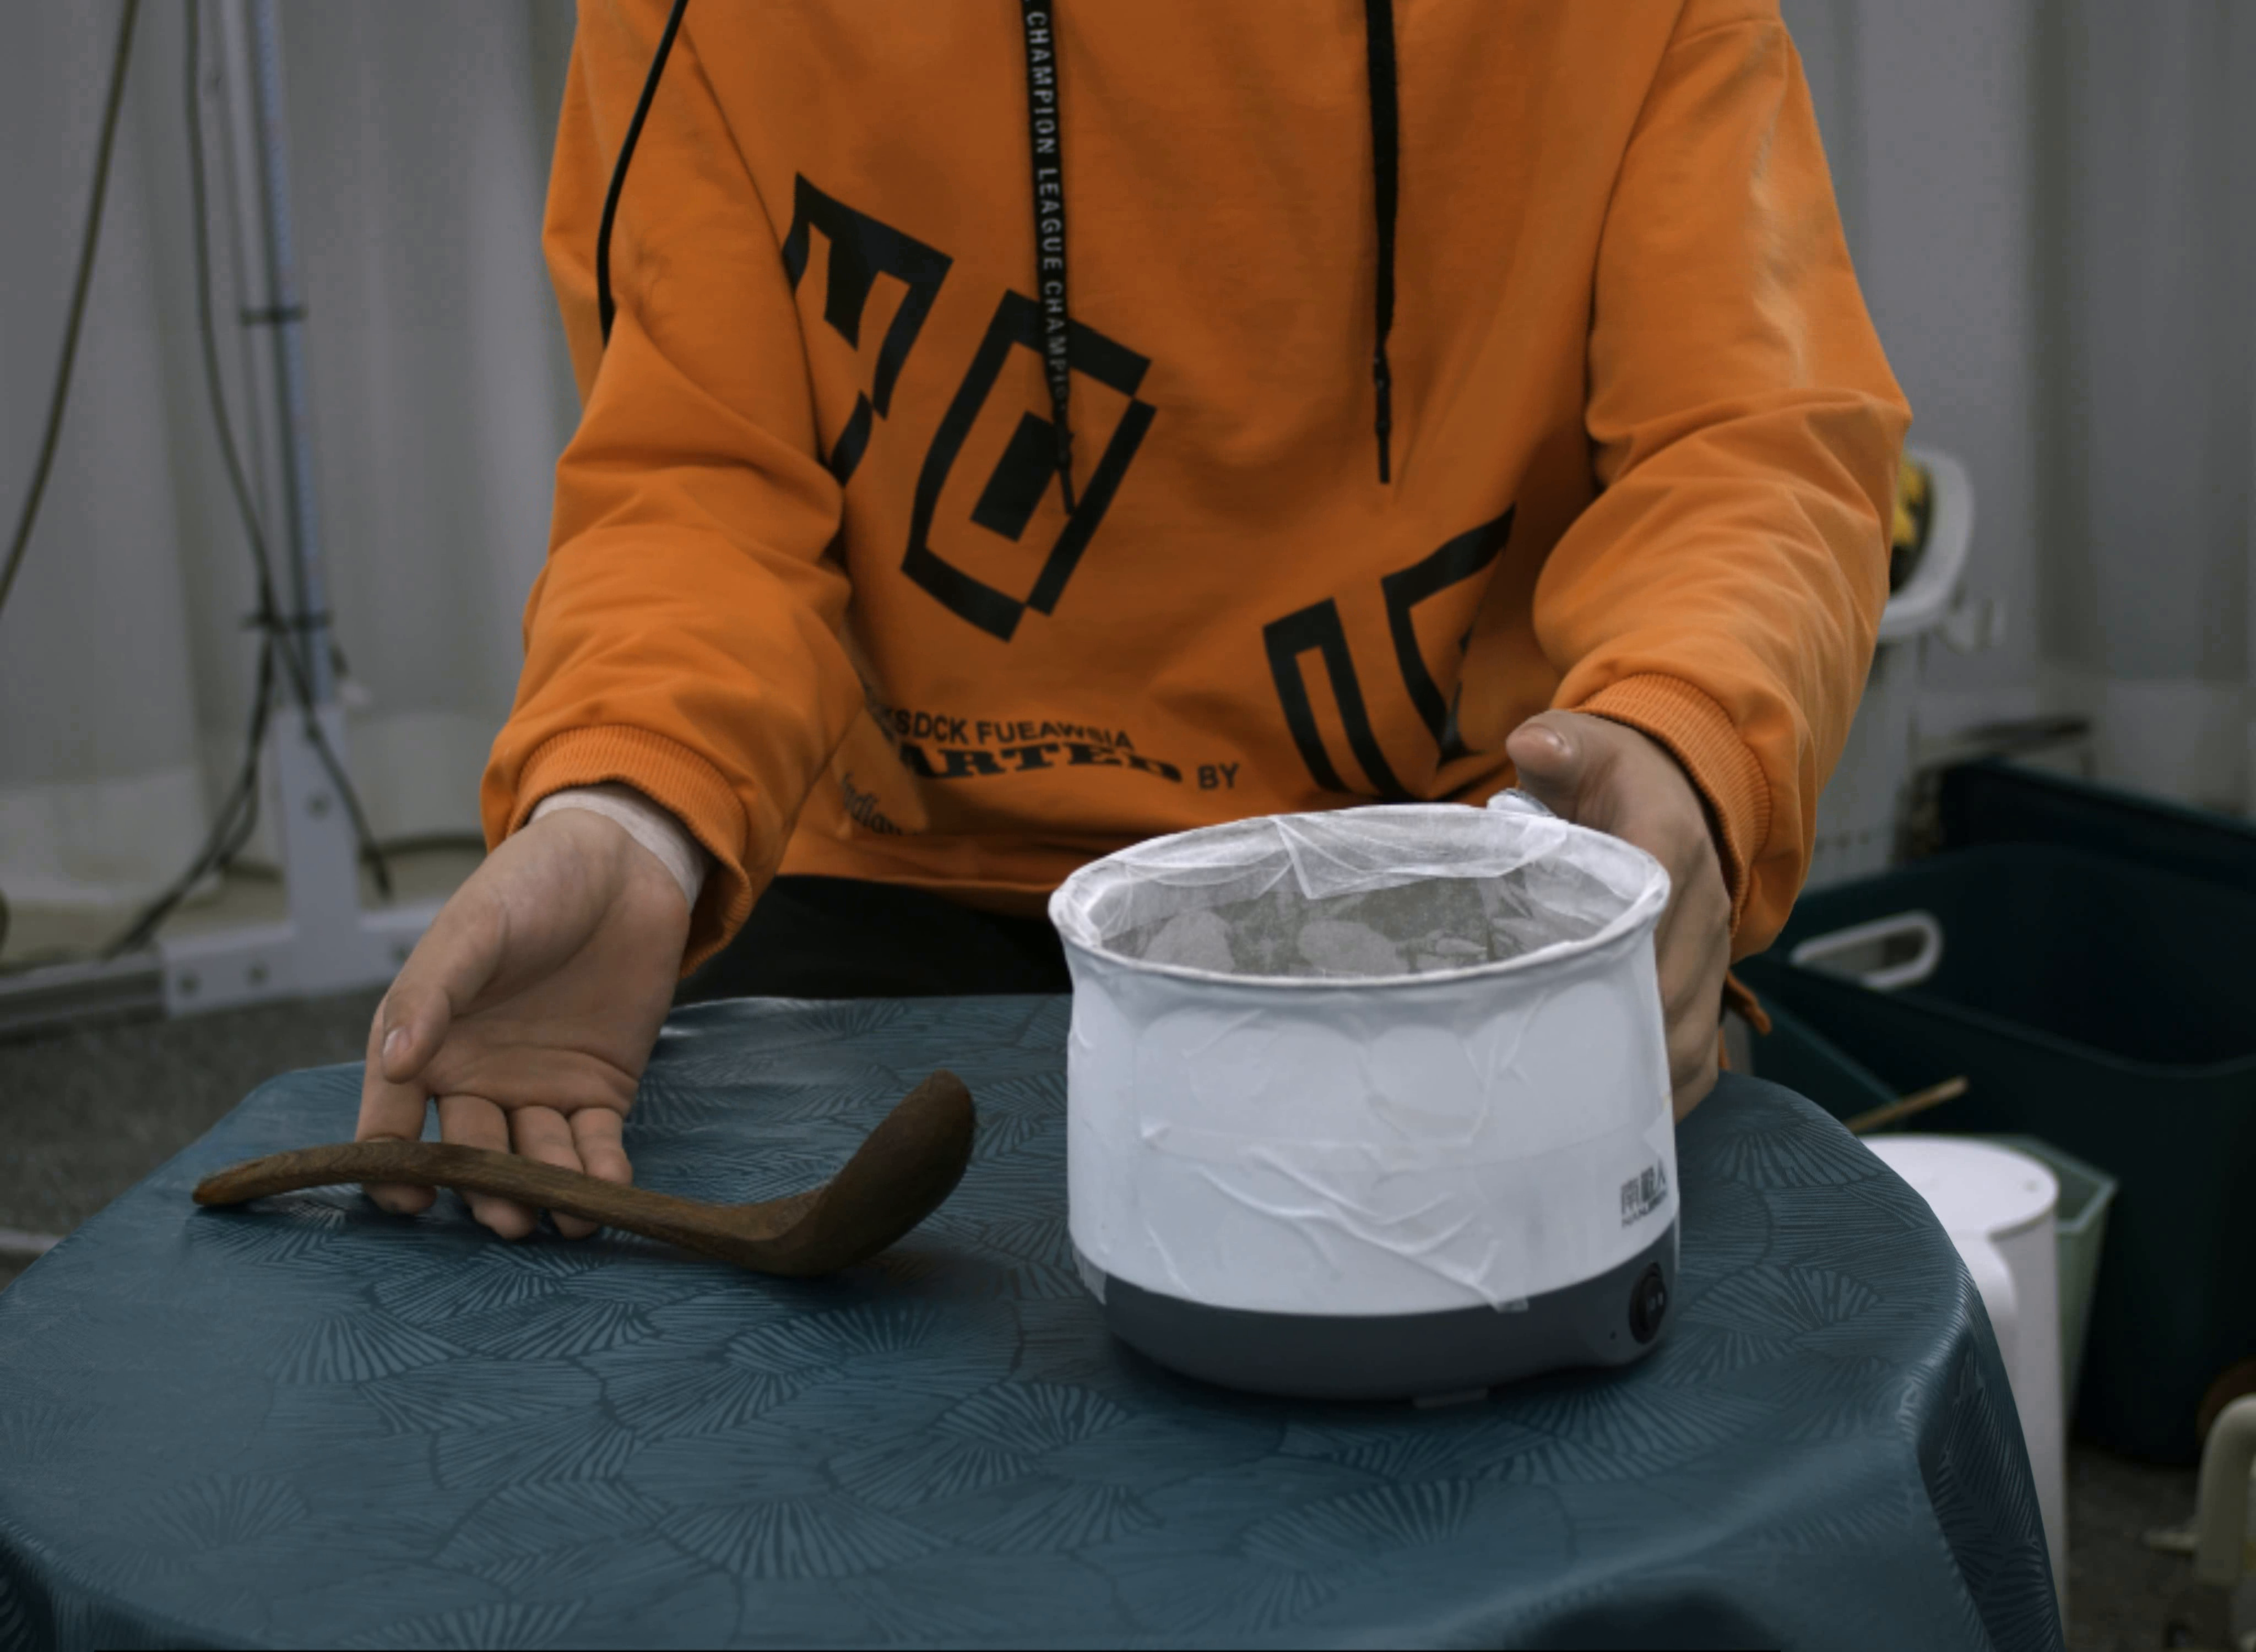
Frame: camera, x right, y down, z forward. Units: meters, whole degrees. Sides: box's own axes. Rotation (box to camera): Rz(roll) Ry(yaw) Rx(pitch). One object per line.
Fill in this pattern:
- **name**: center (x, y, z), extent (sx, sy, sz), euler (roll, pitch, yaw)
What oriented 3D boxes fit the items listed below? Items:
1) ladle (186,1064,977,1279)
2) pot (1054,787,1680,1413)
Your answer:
- **ladle**: center (-0.173, 0.096, 1.686), extent (0.274, 0.071, 0.076), euler (5, 14, 25)
- **pot**: center (0.082, 0.072, 1.593), extent (0.179, 0.136, 0.234), euler (6, 17, 28)
